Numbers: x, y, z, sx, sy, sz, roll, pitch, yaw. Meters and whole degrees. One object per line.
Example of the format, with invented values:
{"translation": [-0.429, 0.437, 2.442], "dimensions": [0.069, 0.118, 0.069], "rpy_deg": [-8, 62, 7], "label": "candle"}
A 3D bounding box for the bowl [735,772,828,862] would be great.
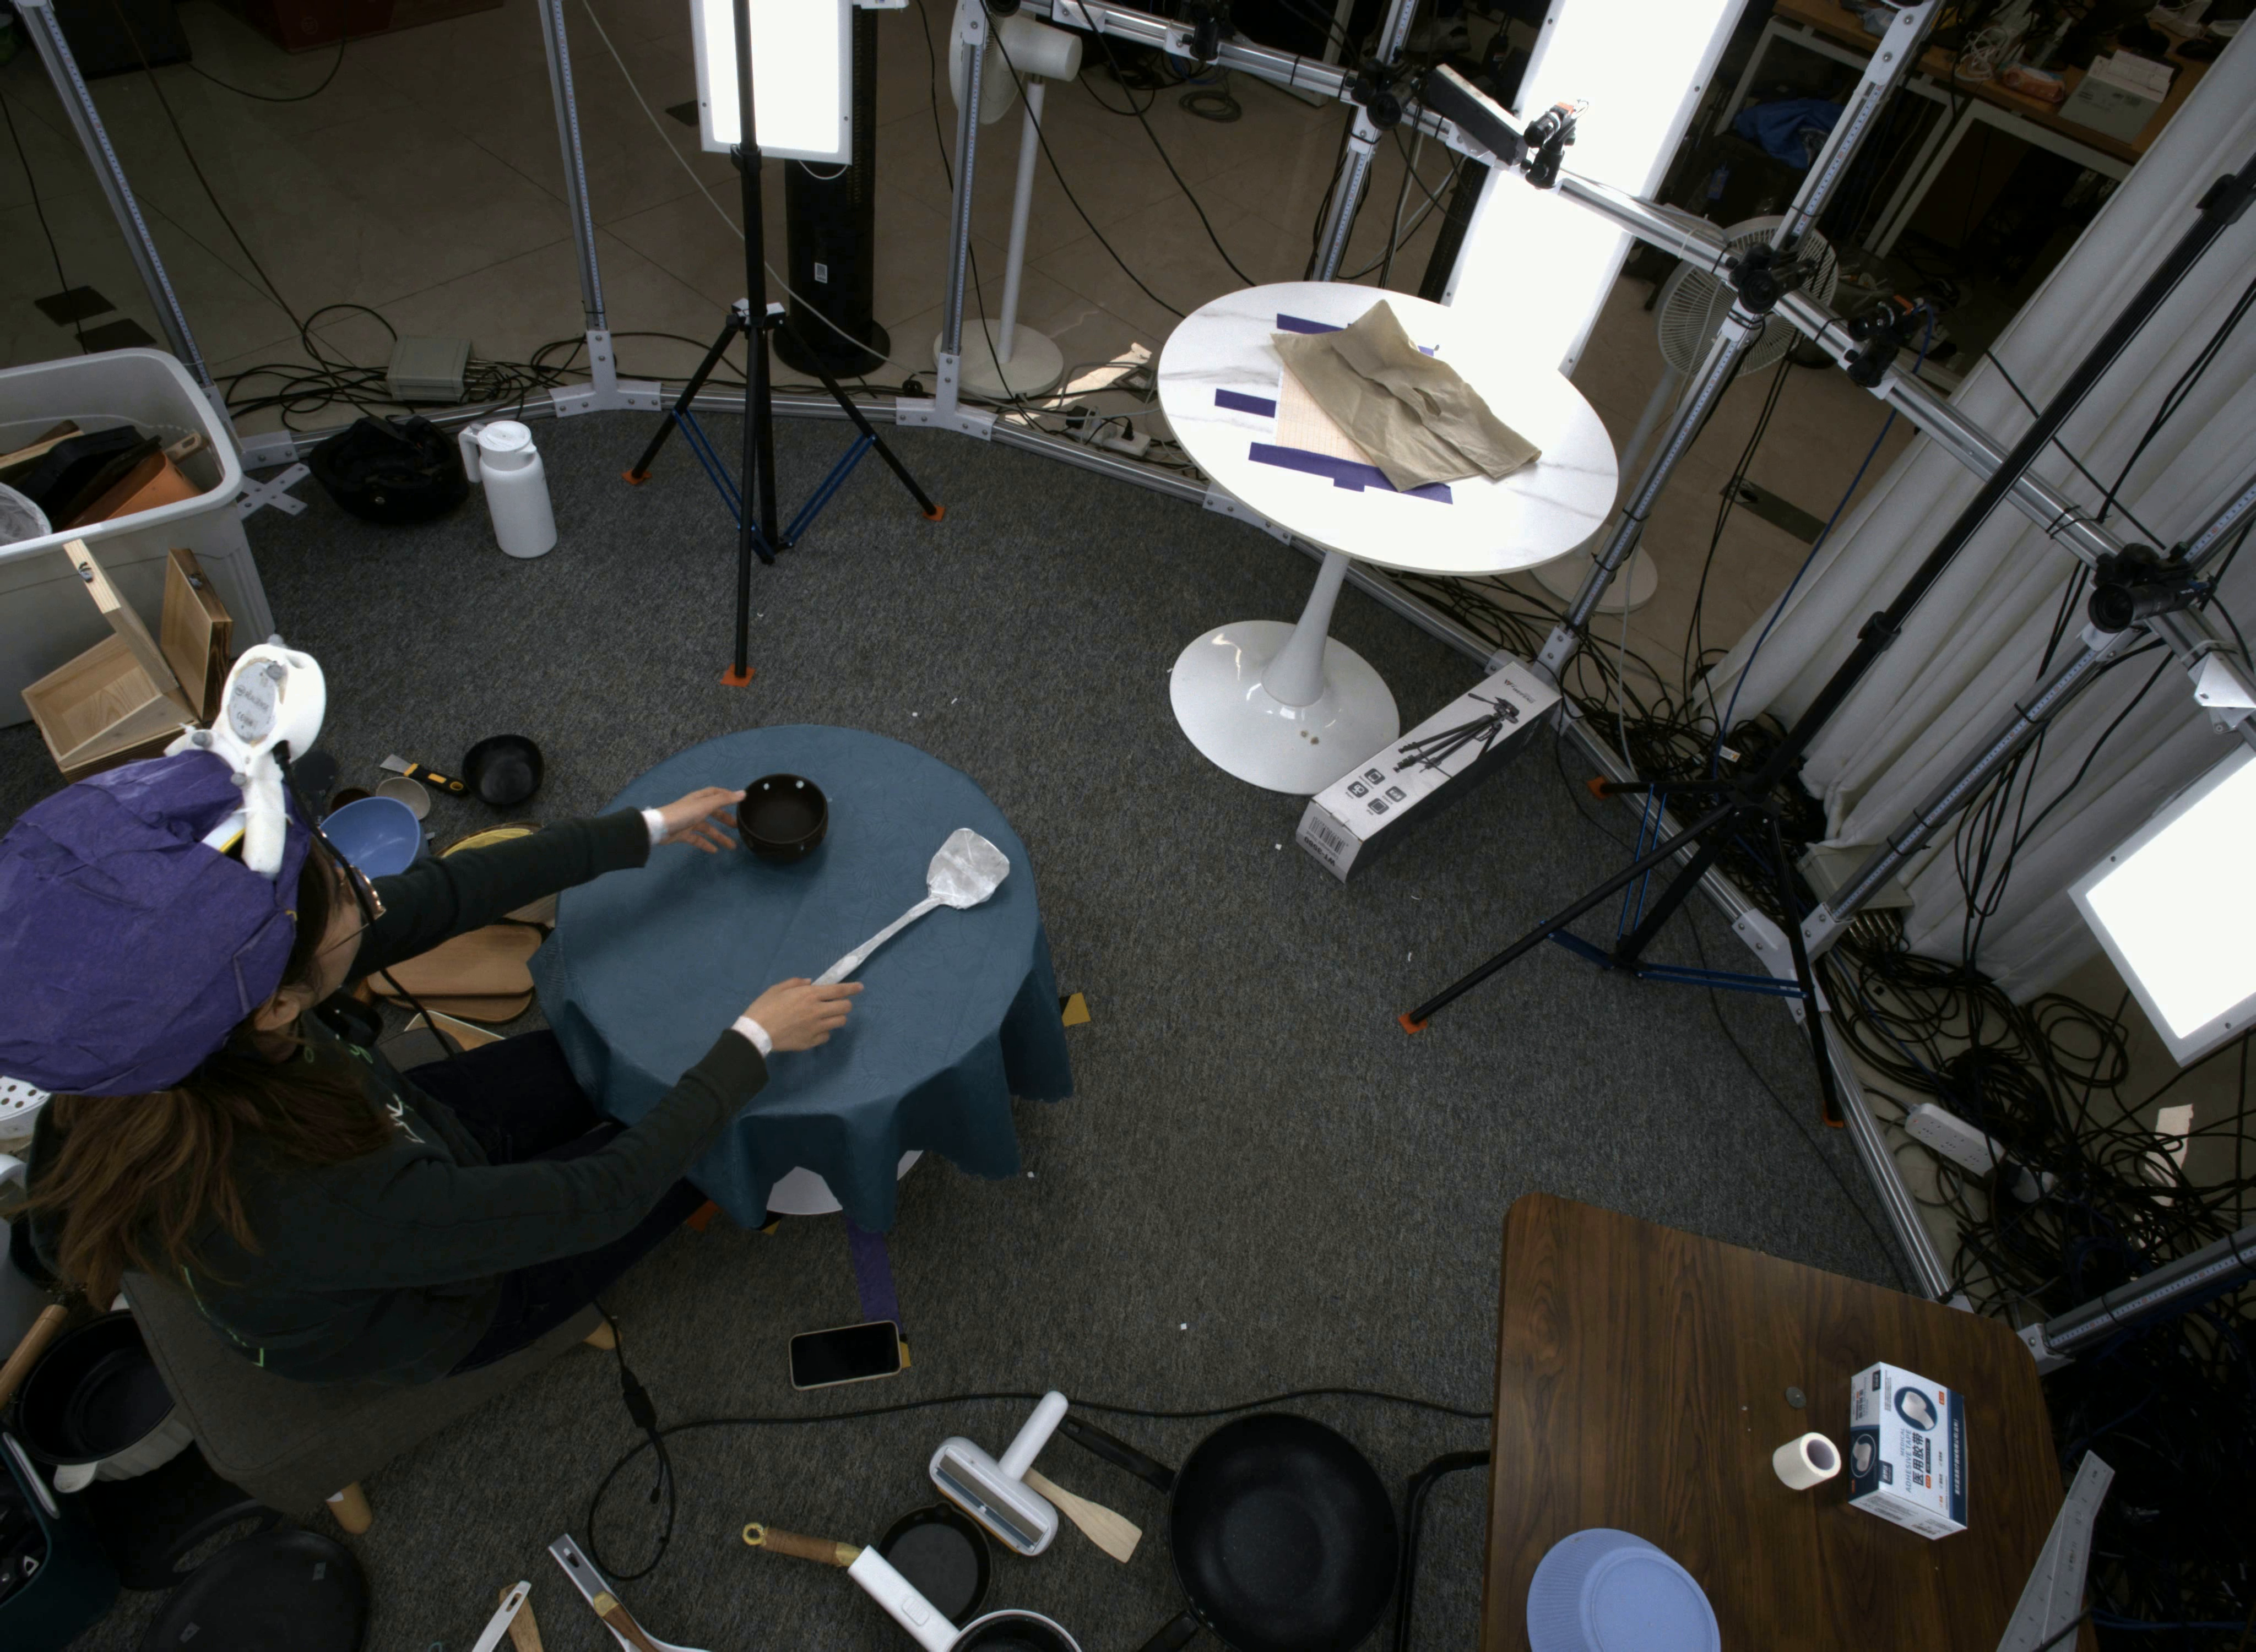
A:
{"translation": [-0.448, -0.005, 1.680], "dimensions": [0.117, 0.071, 0.116], "rpy_deg": [6, 52, -7], "label": "bowl"}

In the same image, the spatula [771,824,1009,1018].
{"translation": [-0.302, 0.125, 1.643], "dimensions": [0.097, 0.045, 0.365], "rpy_deg": [41, 55, 15], "label": "spatula"}
